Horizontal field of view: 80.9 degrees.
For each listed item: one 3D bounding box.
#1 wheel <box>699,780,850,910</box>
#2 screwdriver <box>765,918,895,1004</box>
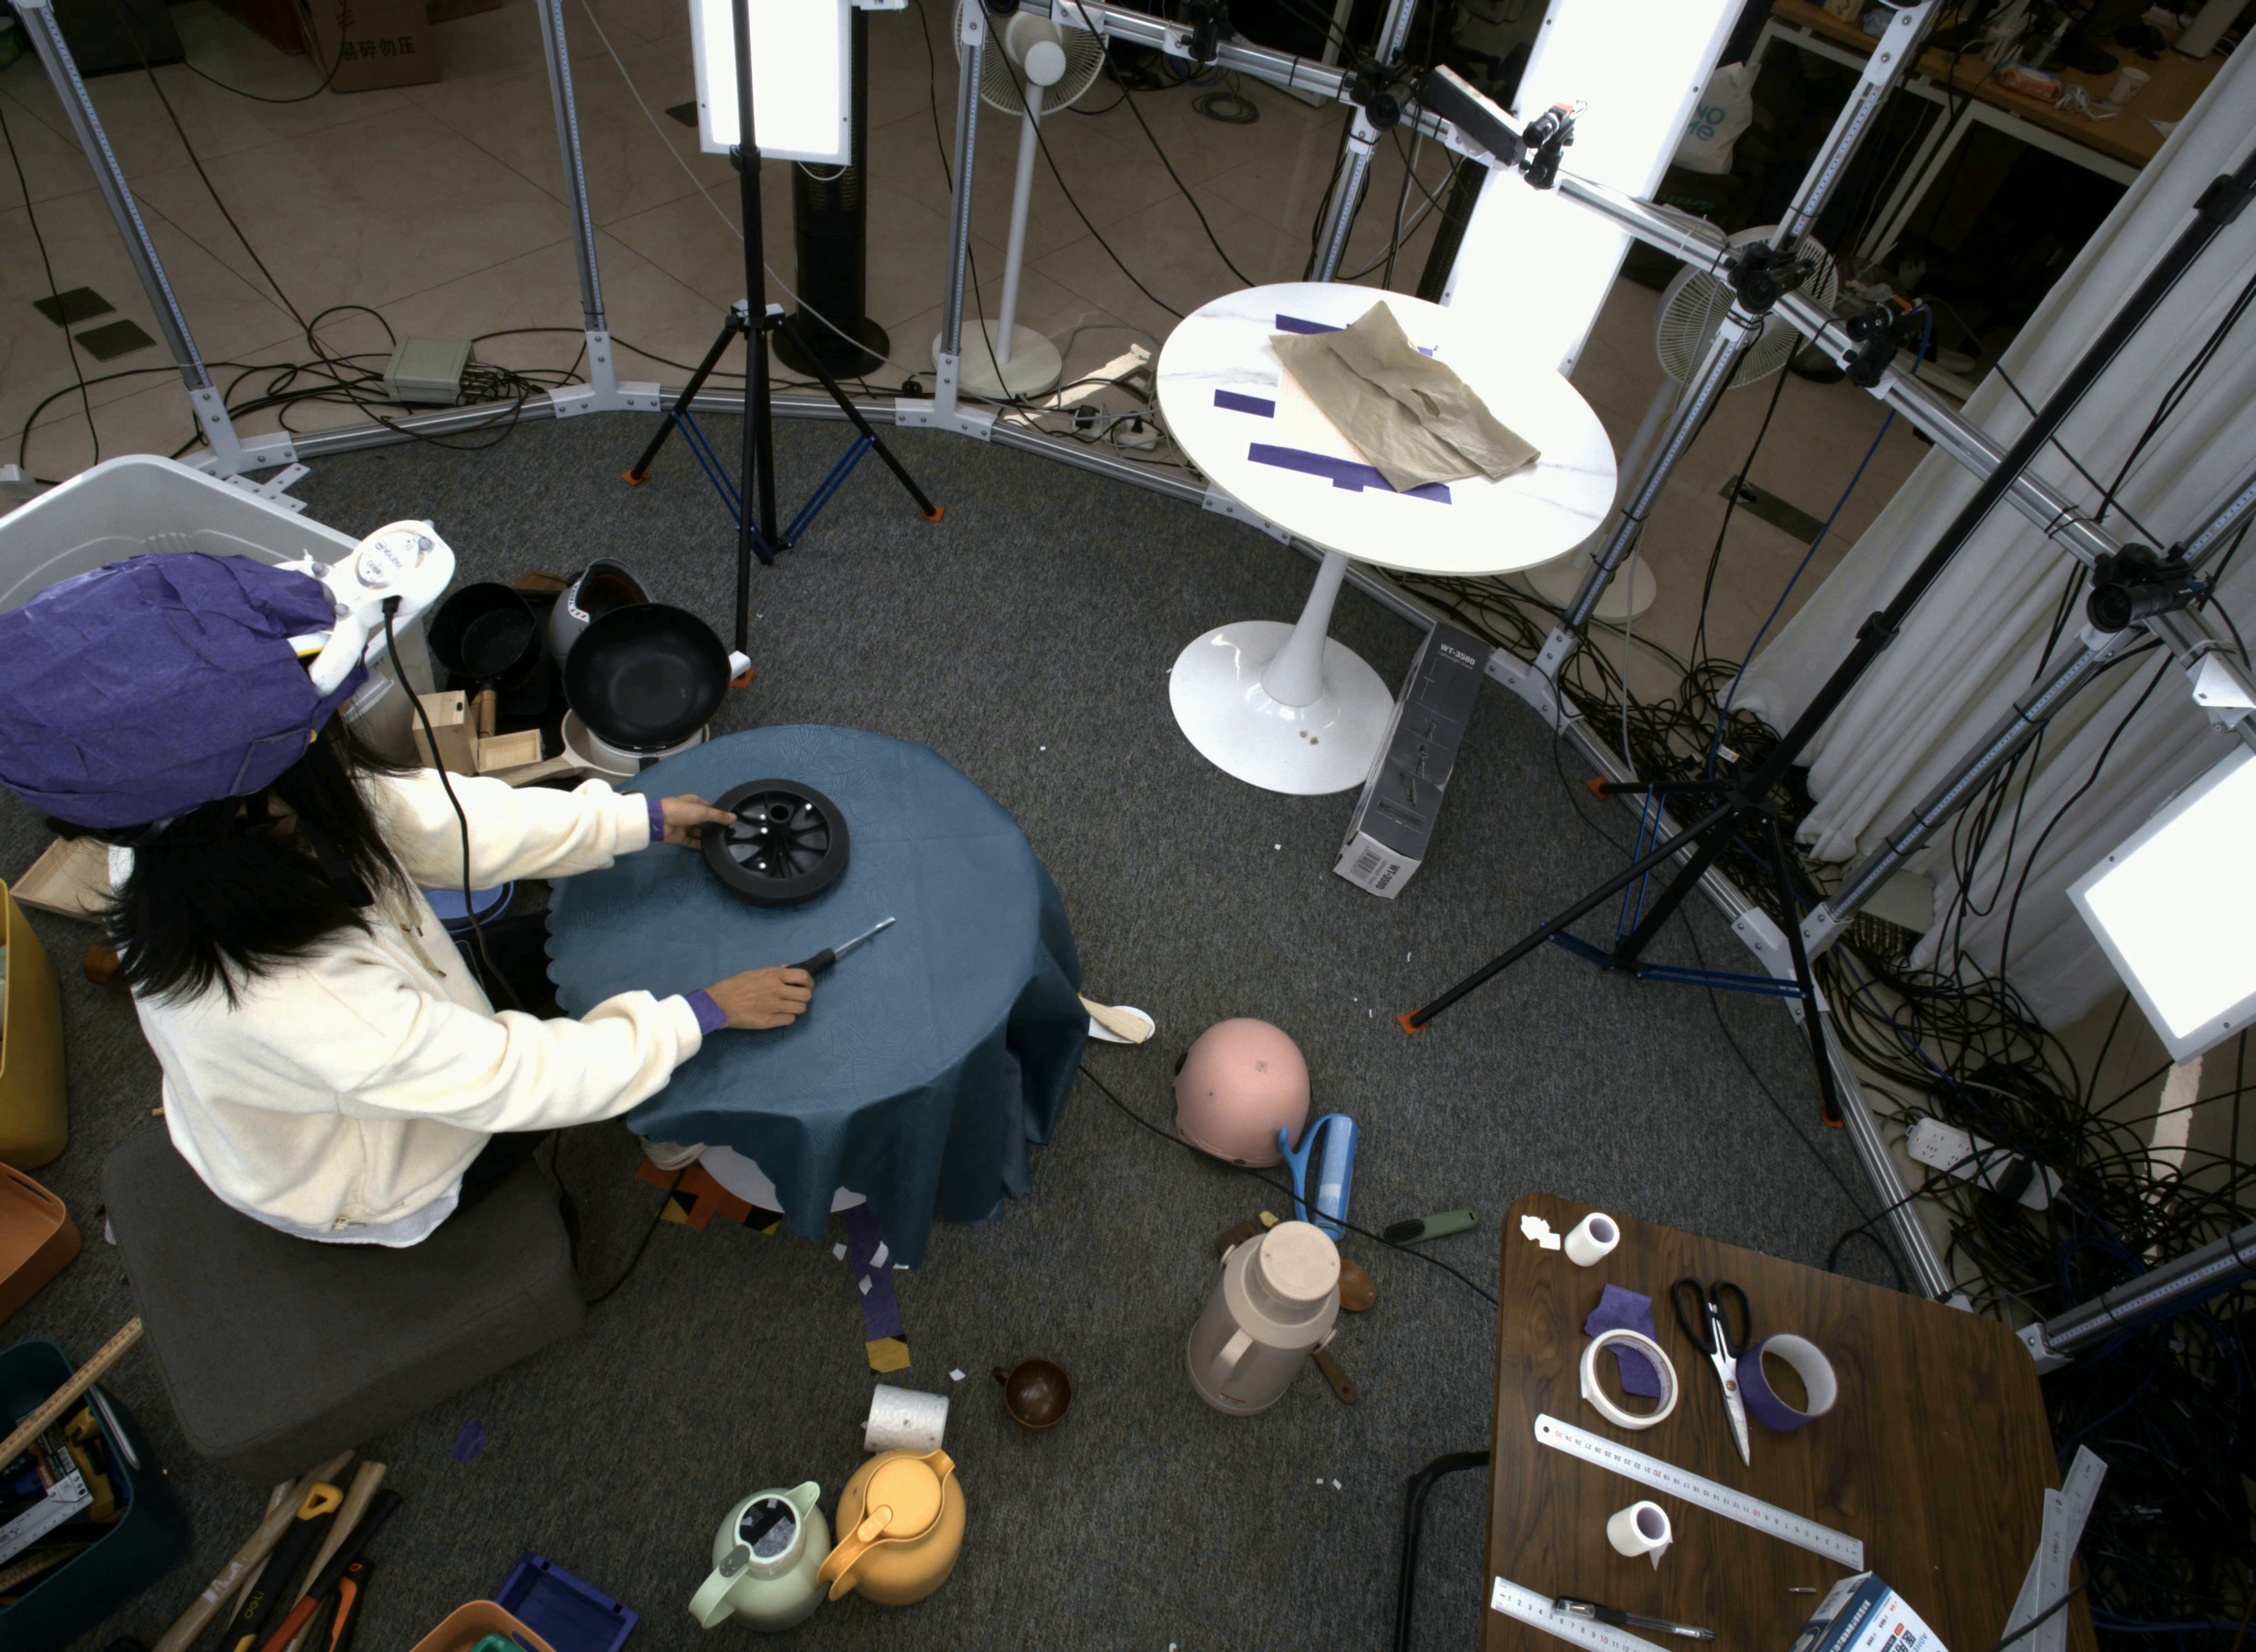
[{"bbox_3d":[-0.449,0.009,1.653,0.187,0.080,0.188,47,53,11],"label":"wheel"},{"bbox_3d":[-0.360,0.160,1.597,0.199,0.032,0.031,-30,64,-37],"label":"screwdriver"}]
